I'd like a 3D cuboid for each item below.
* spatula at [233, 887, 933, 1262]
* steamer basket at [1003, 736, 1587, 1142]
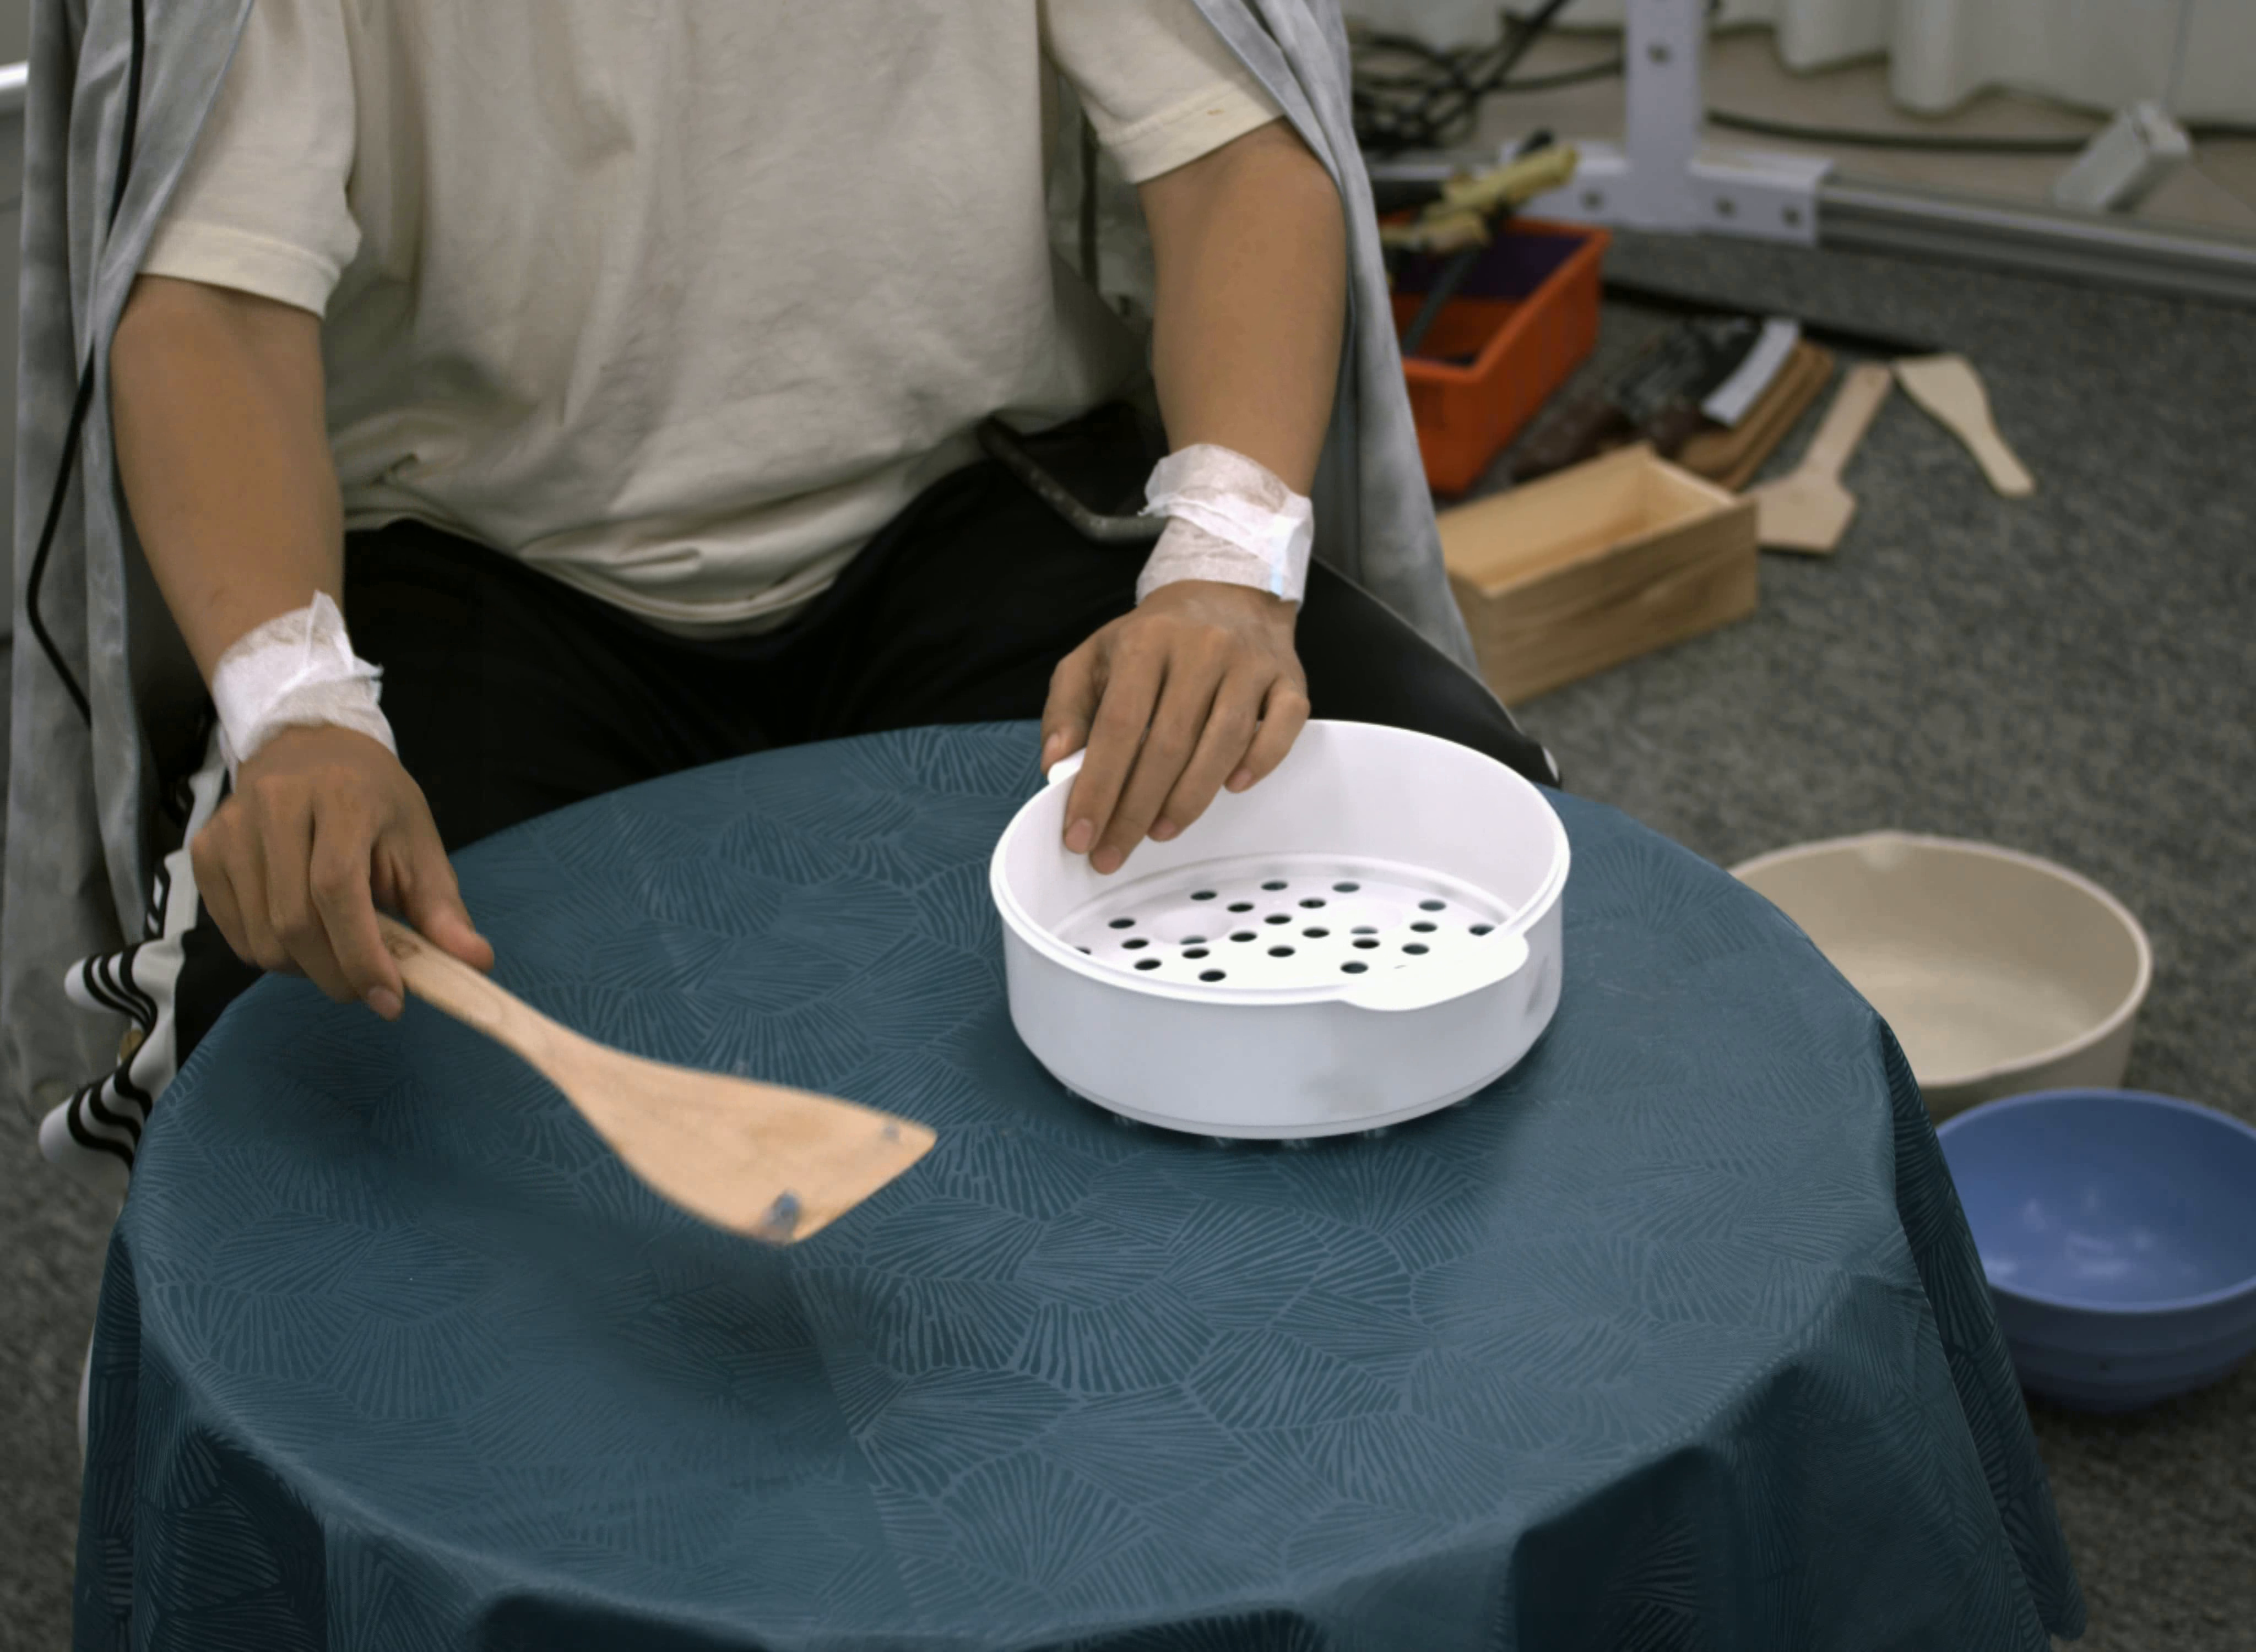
[{"bbox_3d":[-0.190,0.074,1.835,0.081,0.016,0.327,-24,35,-38],"label":"spatula"},{"bbox_3d":[0.058,0.040,1.943,0.203,0.068,0.231,-17,29,-28],"label":"steamer basket"}]
